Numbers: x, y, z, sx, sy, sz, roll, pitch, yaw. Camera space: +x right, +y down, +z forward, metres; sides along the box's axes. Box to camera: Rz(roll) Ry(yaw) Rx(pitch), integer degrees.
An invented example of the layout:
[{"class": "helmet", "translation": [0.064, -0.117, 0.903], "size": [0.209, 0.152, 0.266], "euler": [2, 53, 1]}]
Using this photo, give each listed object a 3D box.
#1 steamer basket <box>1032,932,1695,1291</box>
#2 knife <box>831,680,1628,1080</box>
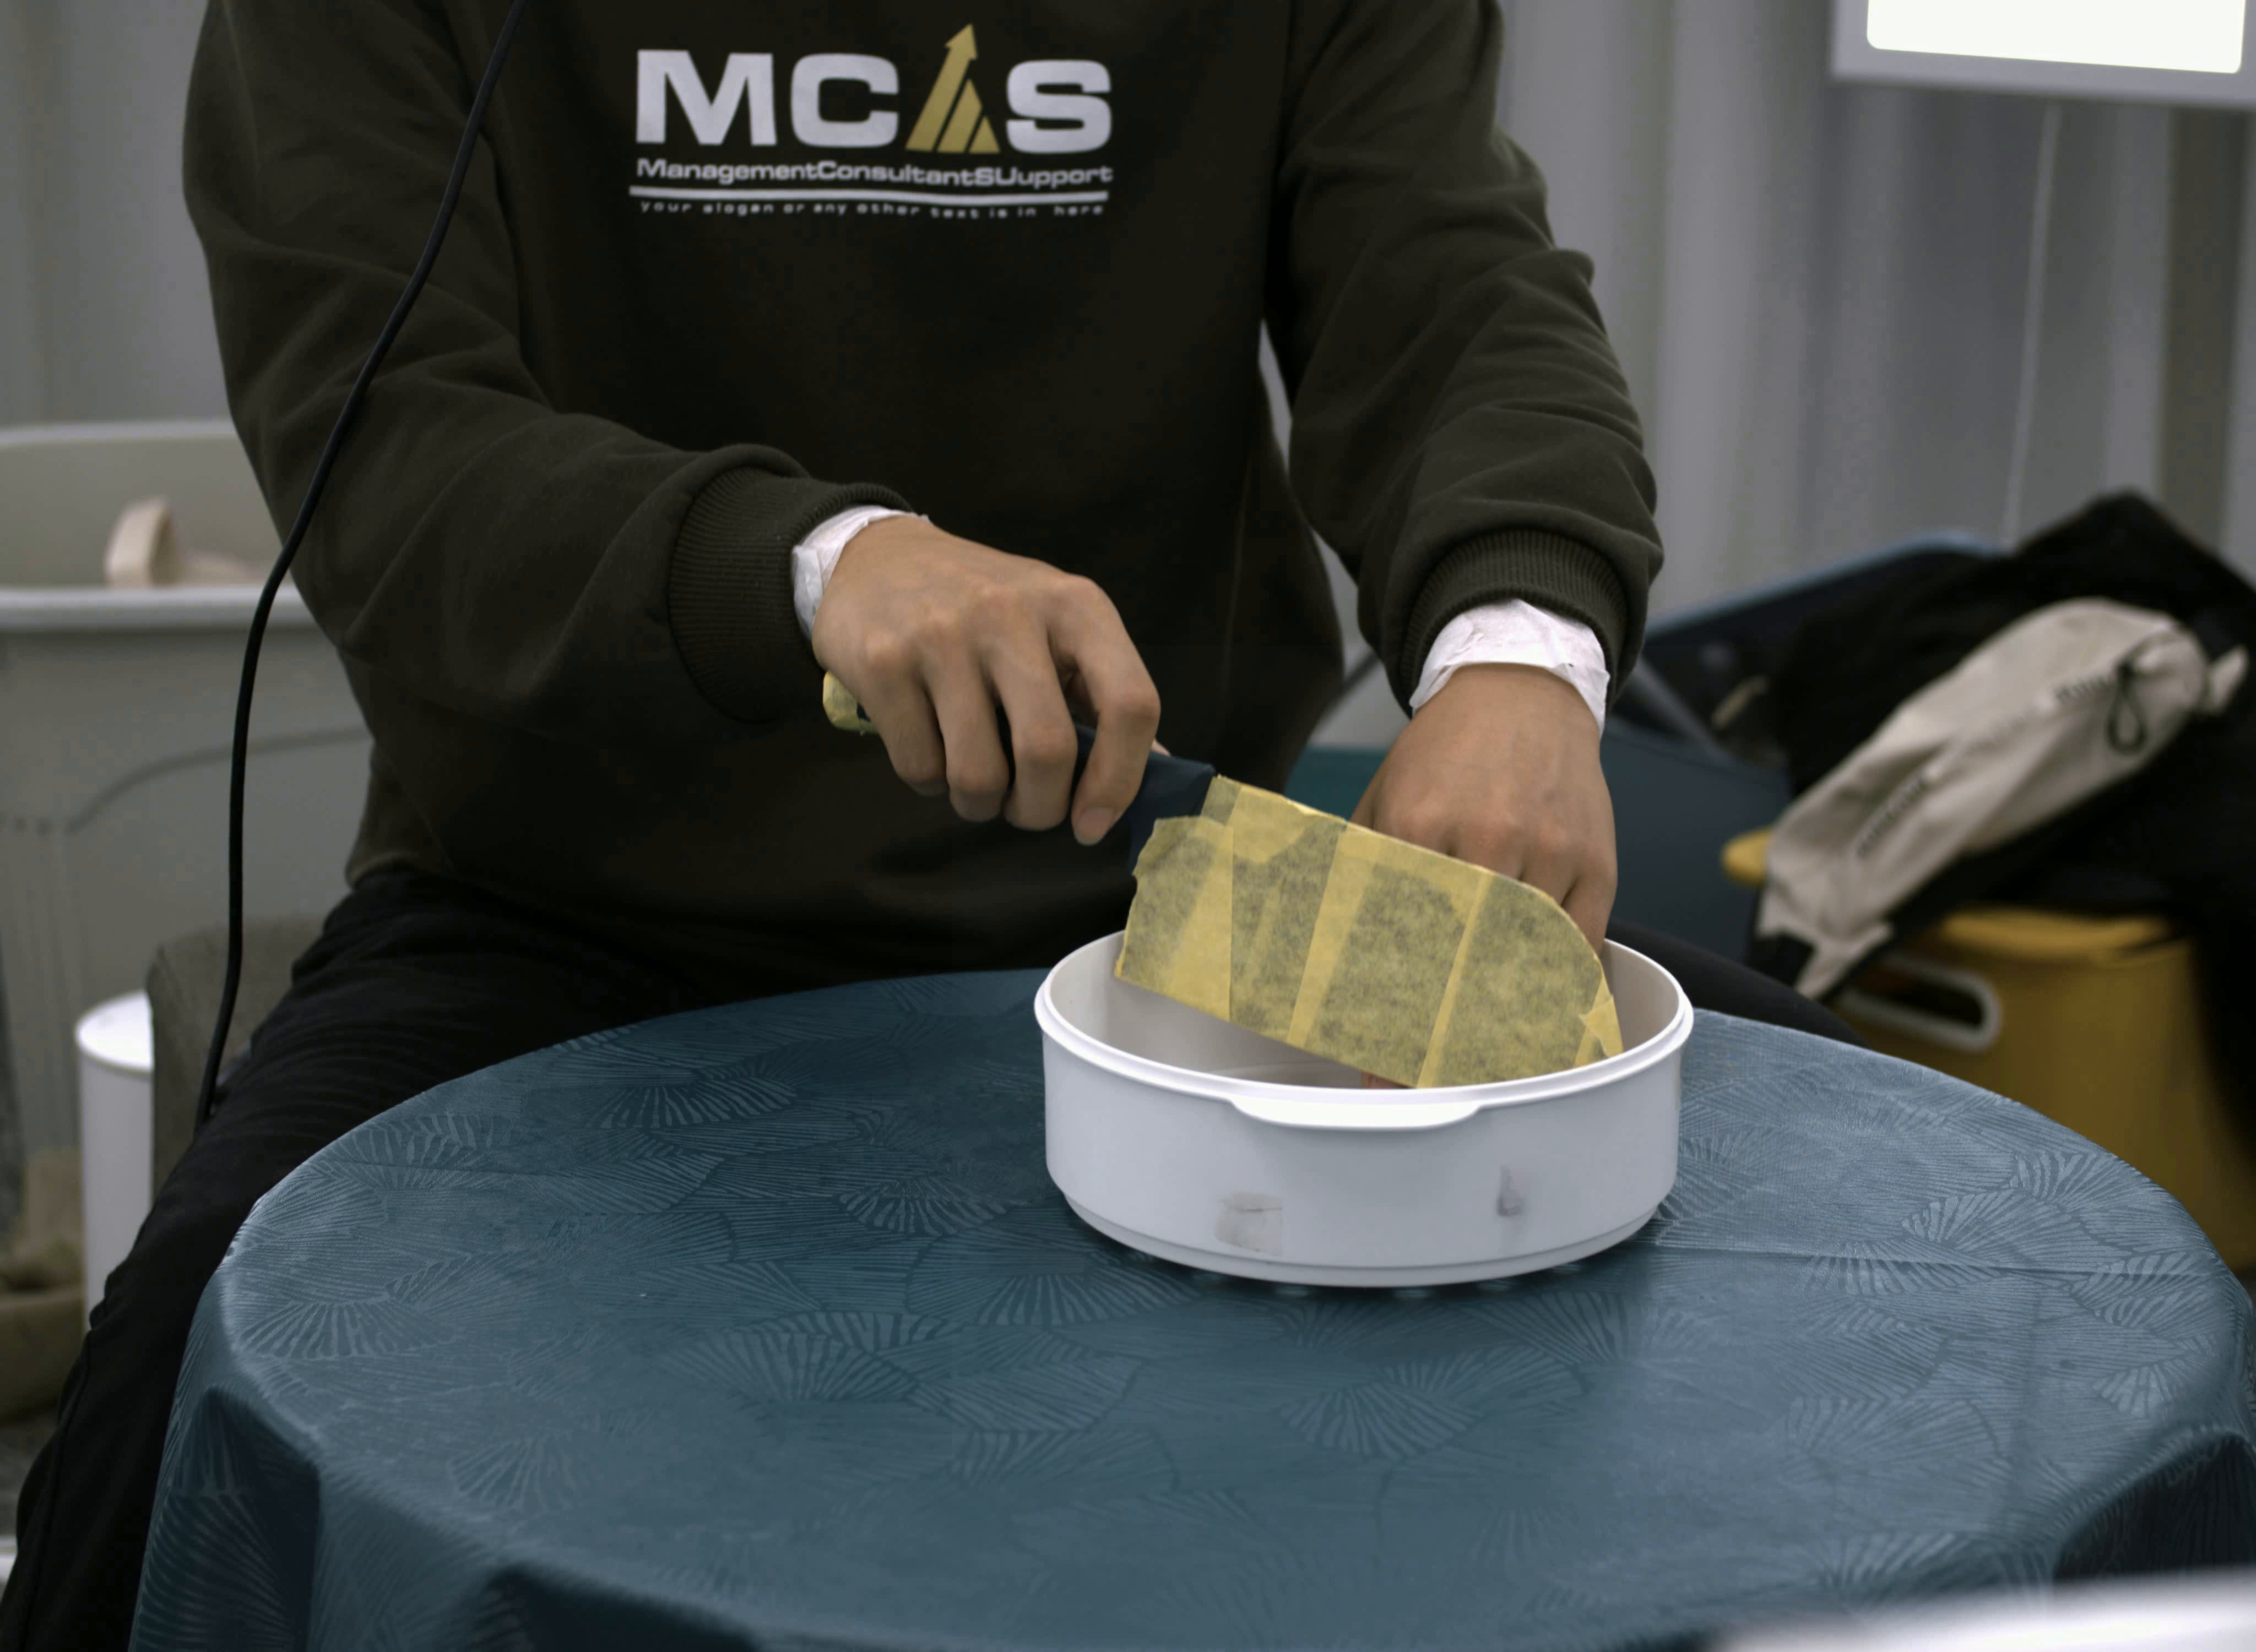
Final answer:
[{"class": "steamer basket", "translation": [0.071, 0.084, 1.606], "size": [0.201, 0.070, 0.230], "euler": [2, 14, 4]}, {"class": "knife", "translation": [0.028, 0.020, 1.641], "size": [0.286, 0.081, 0.027], "euler": [23, 10, 21]}]
